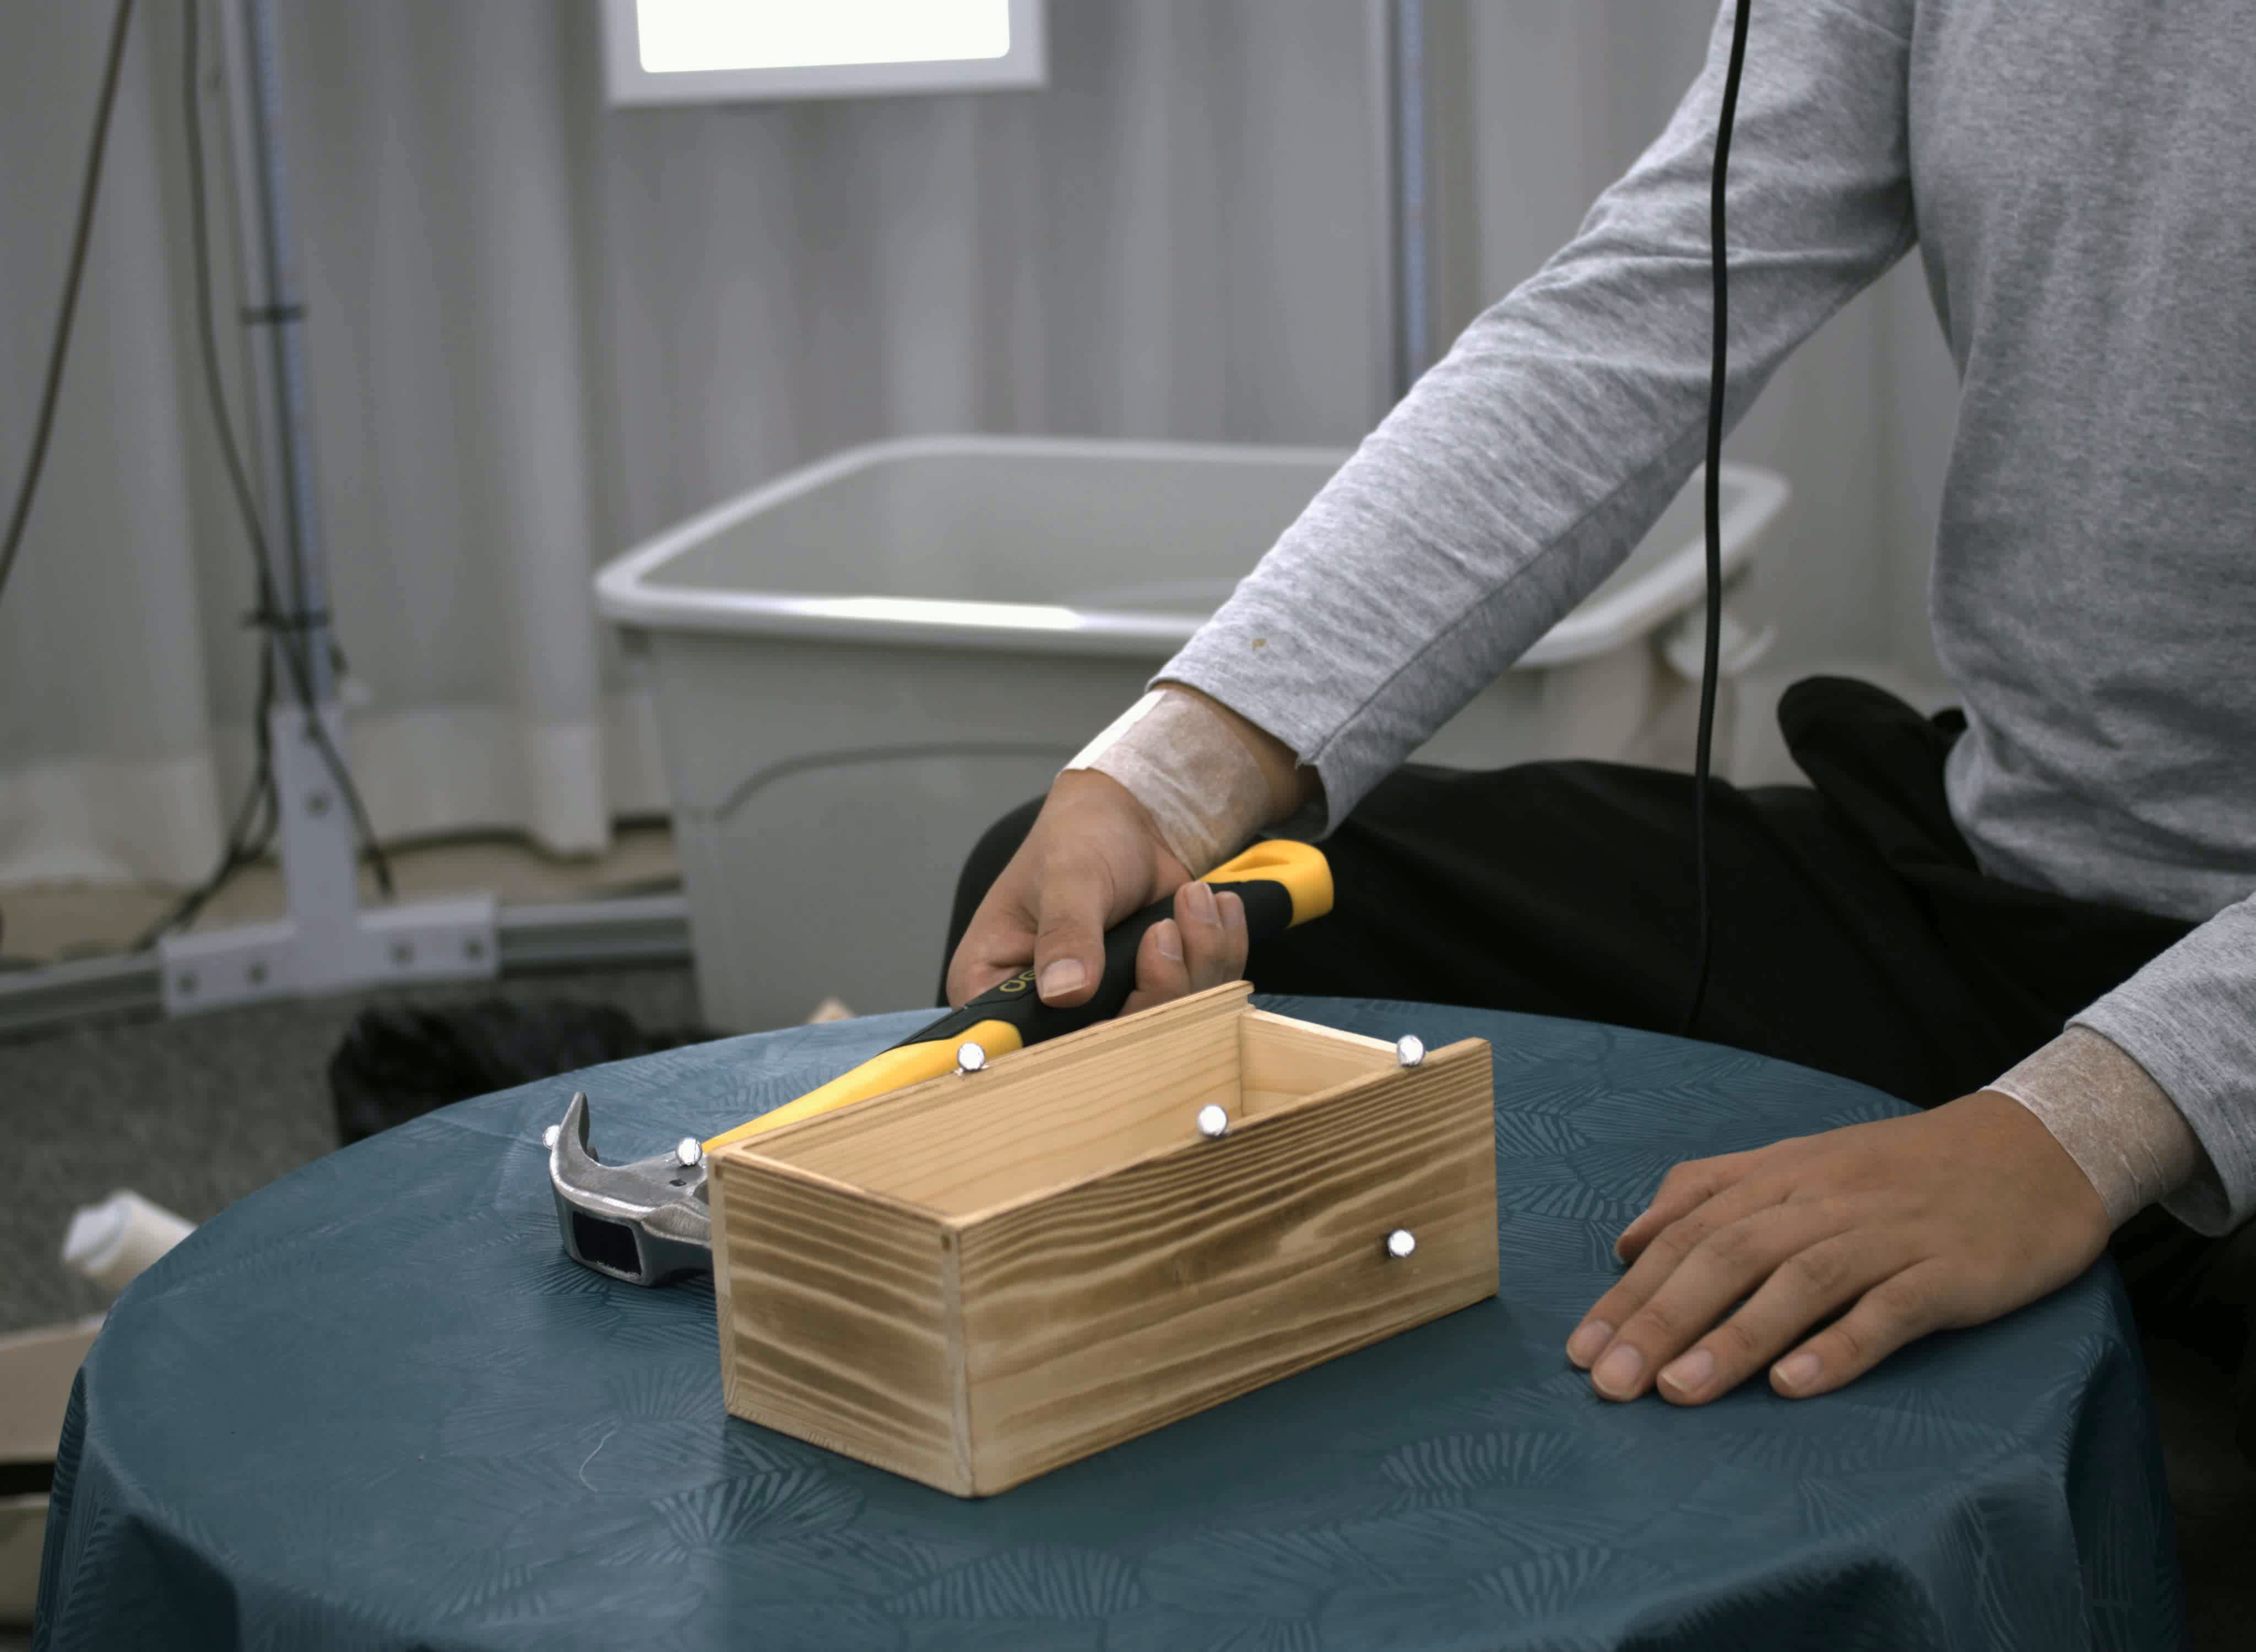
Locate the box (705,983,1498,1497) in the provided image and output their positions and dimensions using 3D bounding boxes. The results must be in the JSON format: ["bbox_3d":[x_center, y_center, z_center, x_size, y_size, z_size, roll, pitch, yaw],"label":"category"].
[{"bbox_3d":[-0.005,0.114,1.565,0.211,0.080,0.108,-17,19,-41],"label":"box"}]

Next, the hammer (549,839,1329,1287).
[{"bbox_3d":[-0.050,0.070,1.772,0.132,0.032,0.339,8,24,41],"label":"hammer"}]
